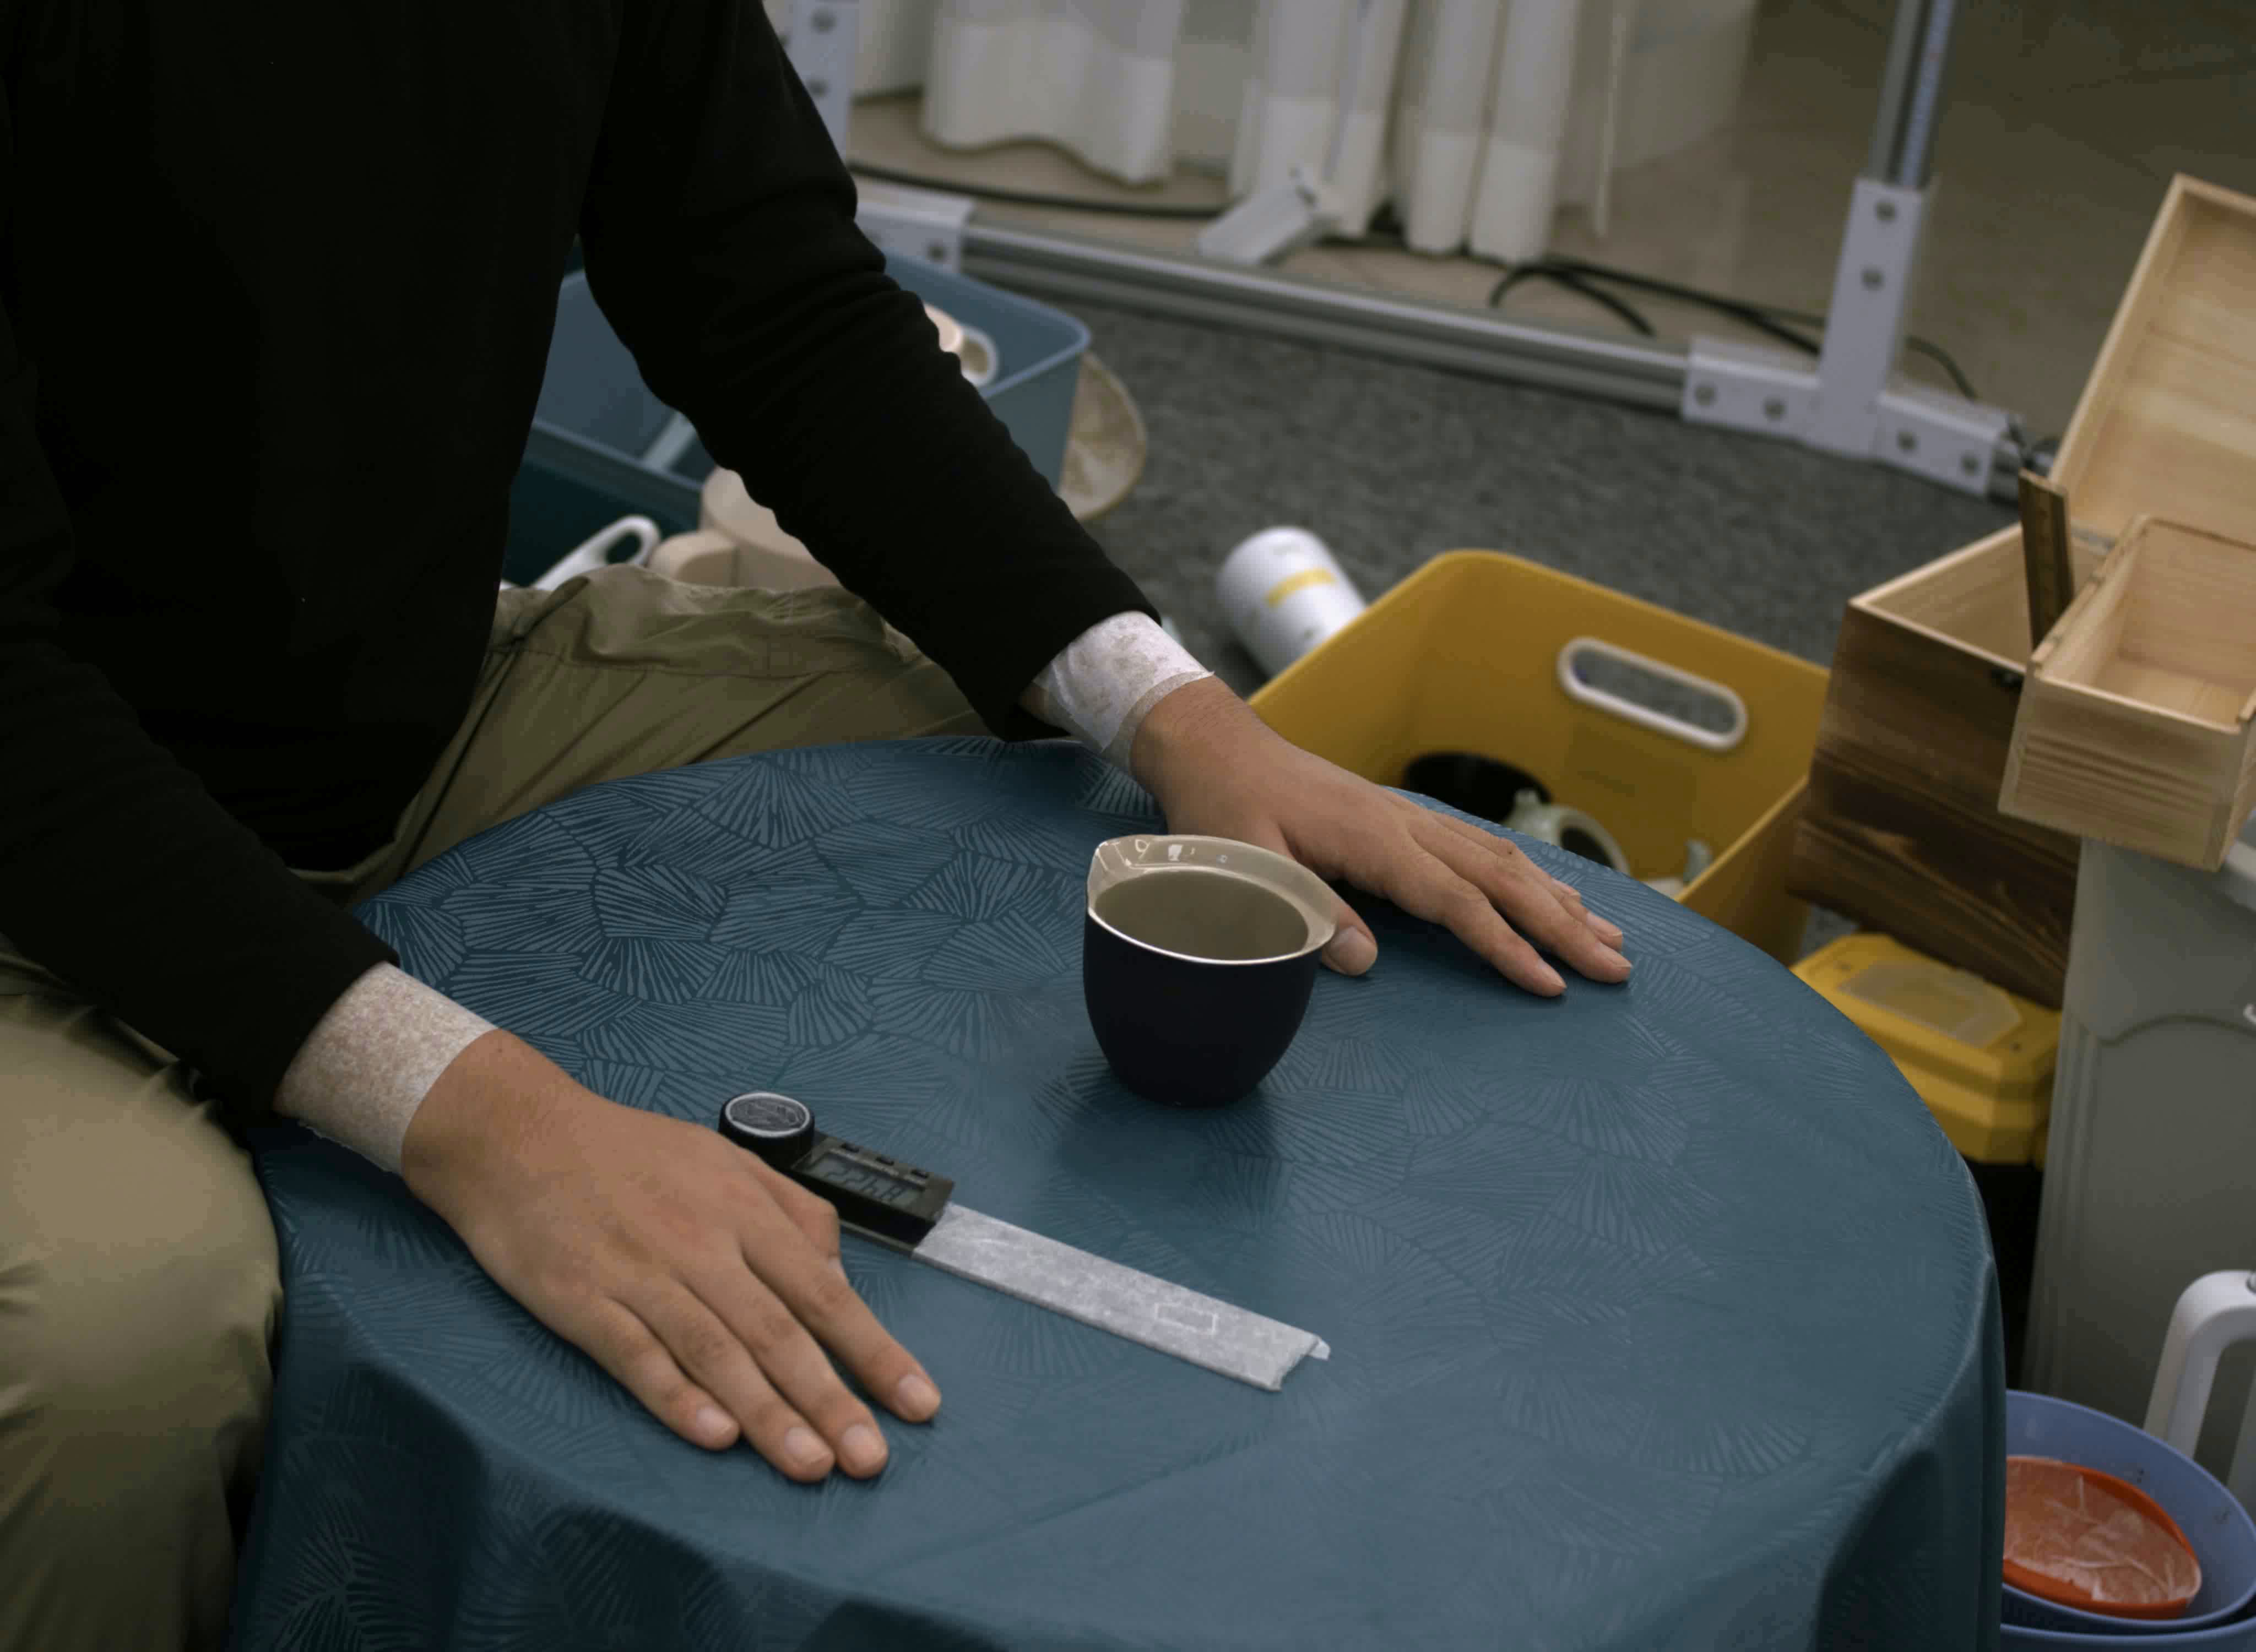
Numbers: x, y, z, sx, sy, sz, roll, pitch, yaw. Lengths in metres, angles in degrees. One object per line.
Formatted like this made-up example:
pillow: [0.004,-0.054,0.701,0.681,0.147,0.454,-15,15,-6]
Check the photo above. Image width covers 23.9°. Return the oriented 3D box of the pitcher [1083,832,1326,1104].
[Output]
pitcher: [0.021,0.053,1.865,0.083,0.071,0.097,-17,36,-37]

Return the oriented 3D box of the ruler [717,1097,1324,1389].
ruler: [-0.040,0.134,1.747,0.219,0.024,0.038,17,35,23]
